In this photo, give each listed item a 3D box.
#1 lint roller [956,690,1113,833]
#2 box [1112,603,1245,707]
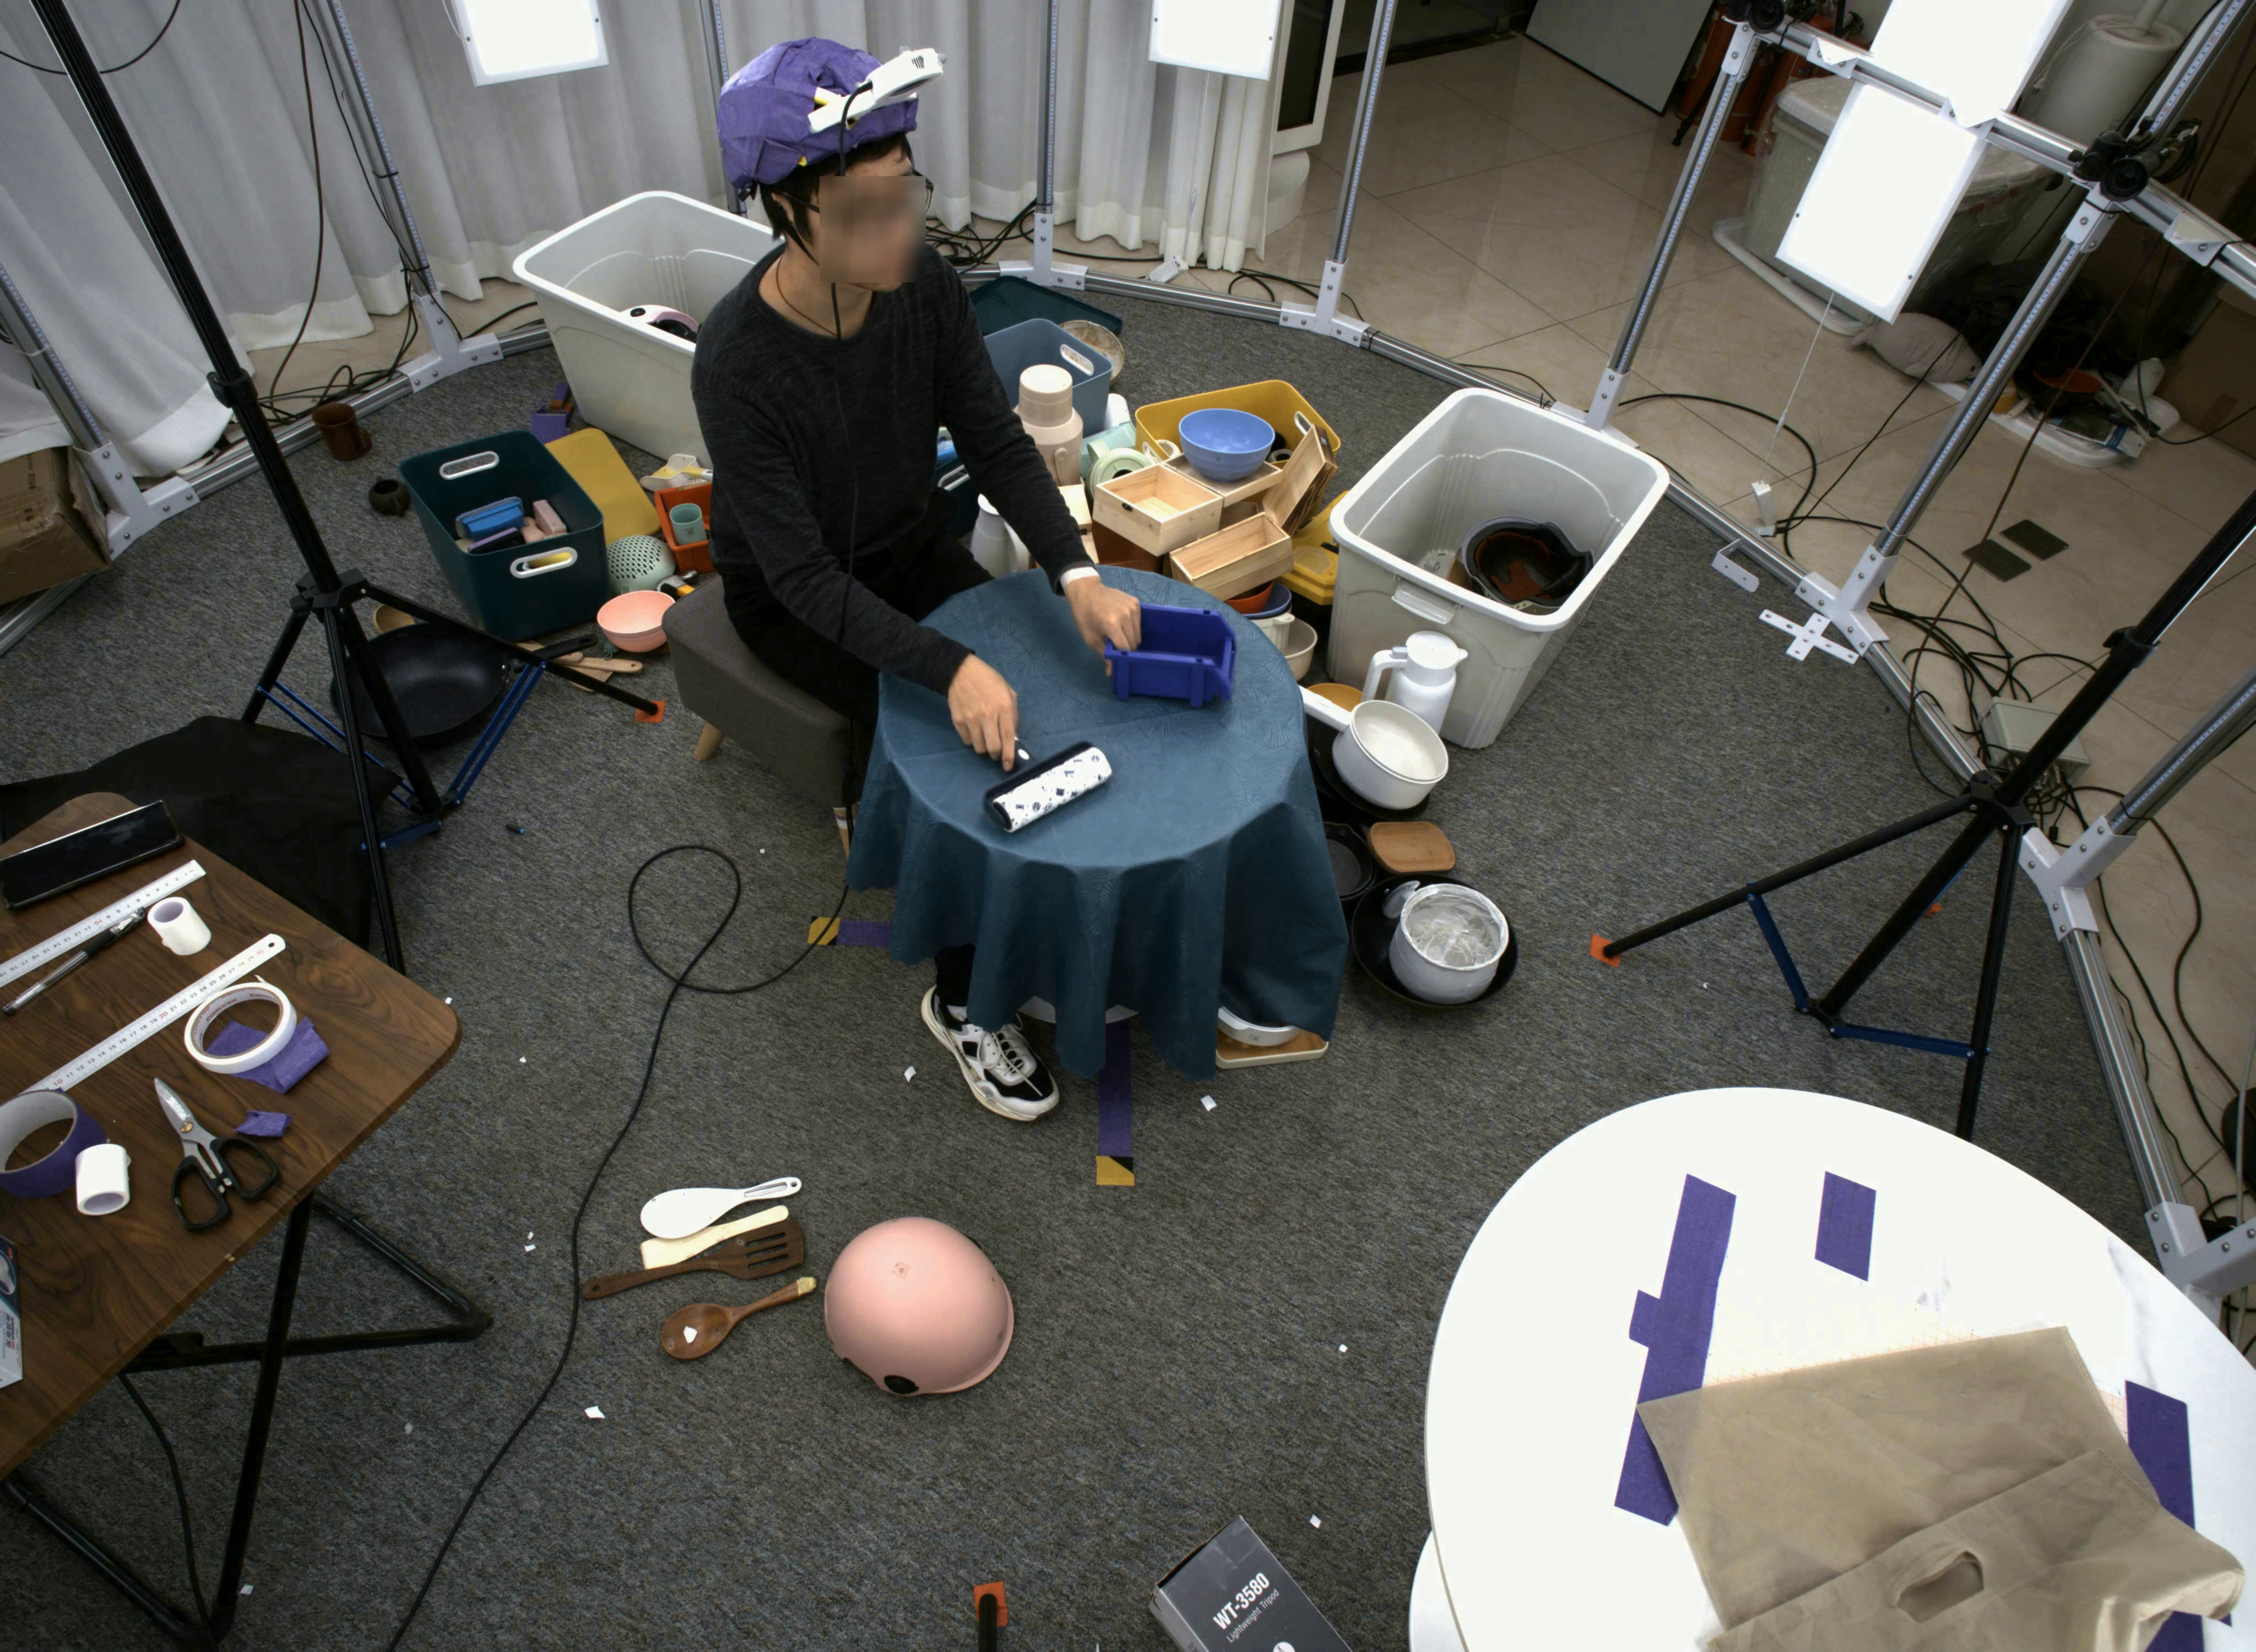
[{"bbox_3d":[-0.160,-0.110,1.723,0.177,0.049,0.251,-29,57,-24],"label":"lint roller"},{"bbox_3d":[0.075,-0.244,1.830,0.179,0.080,0.127,5,47,6],"label":"box"}]
